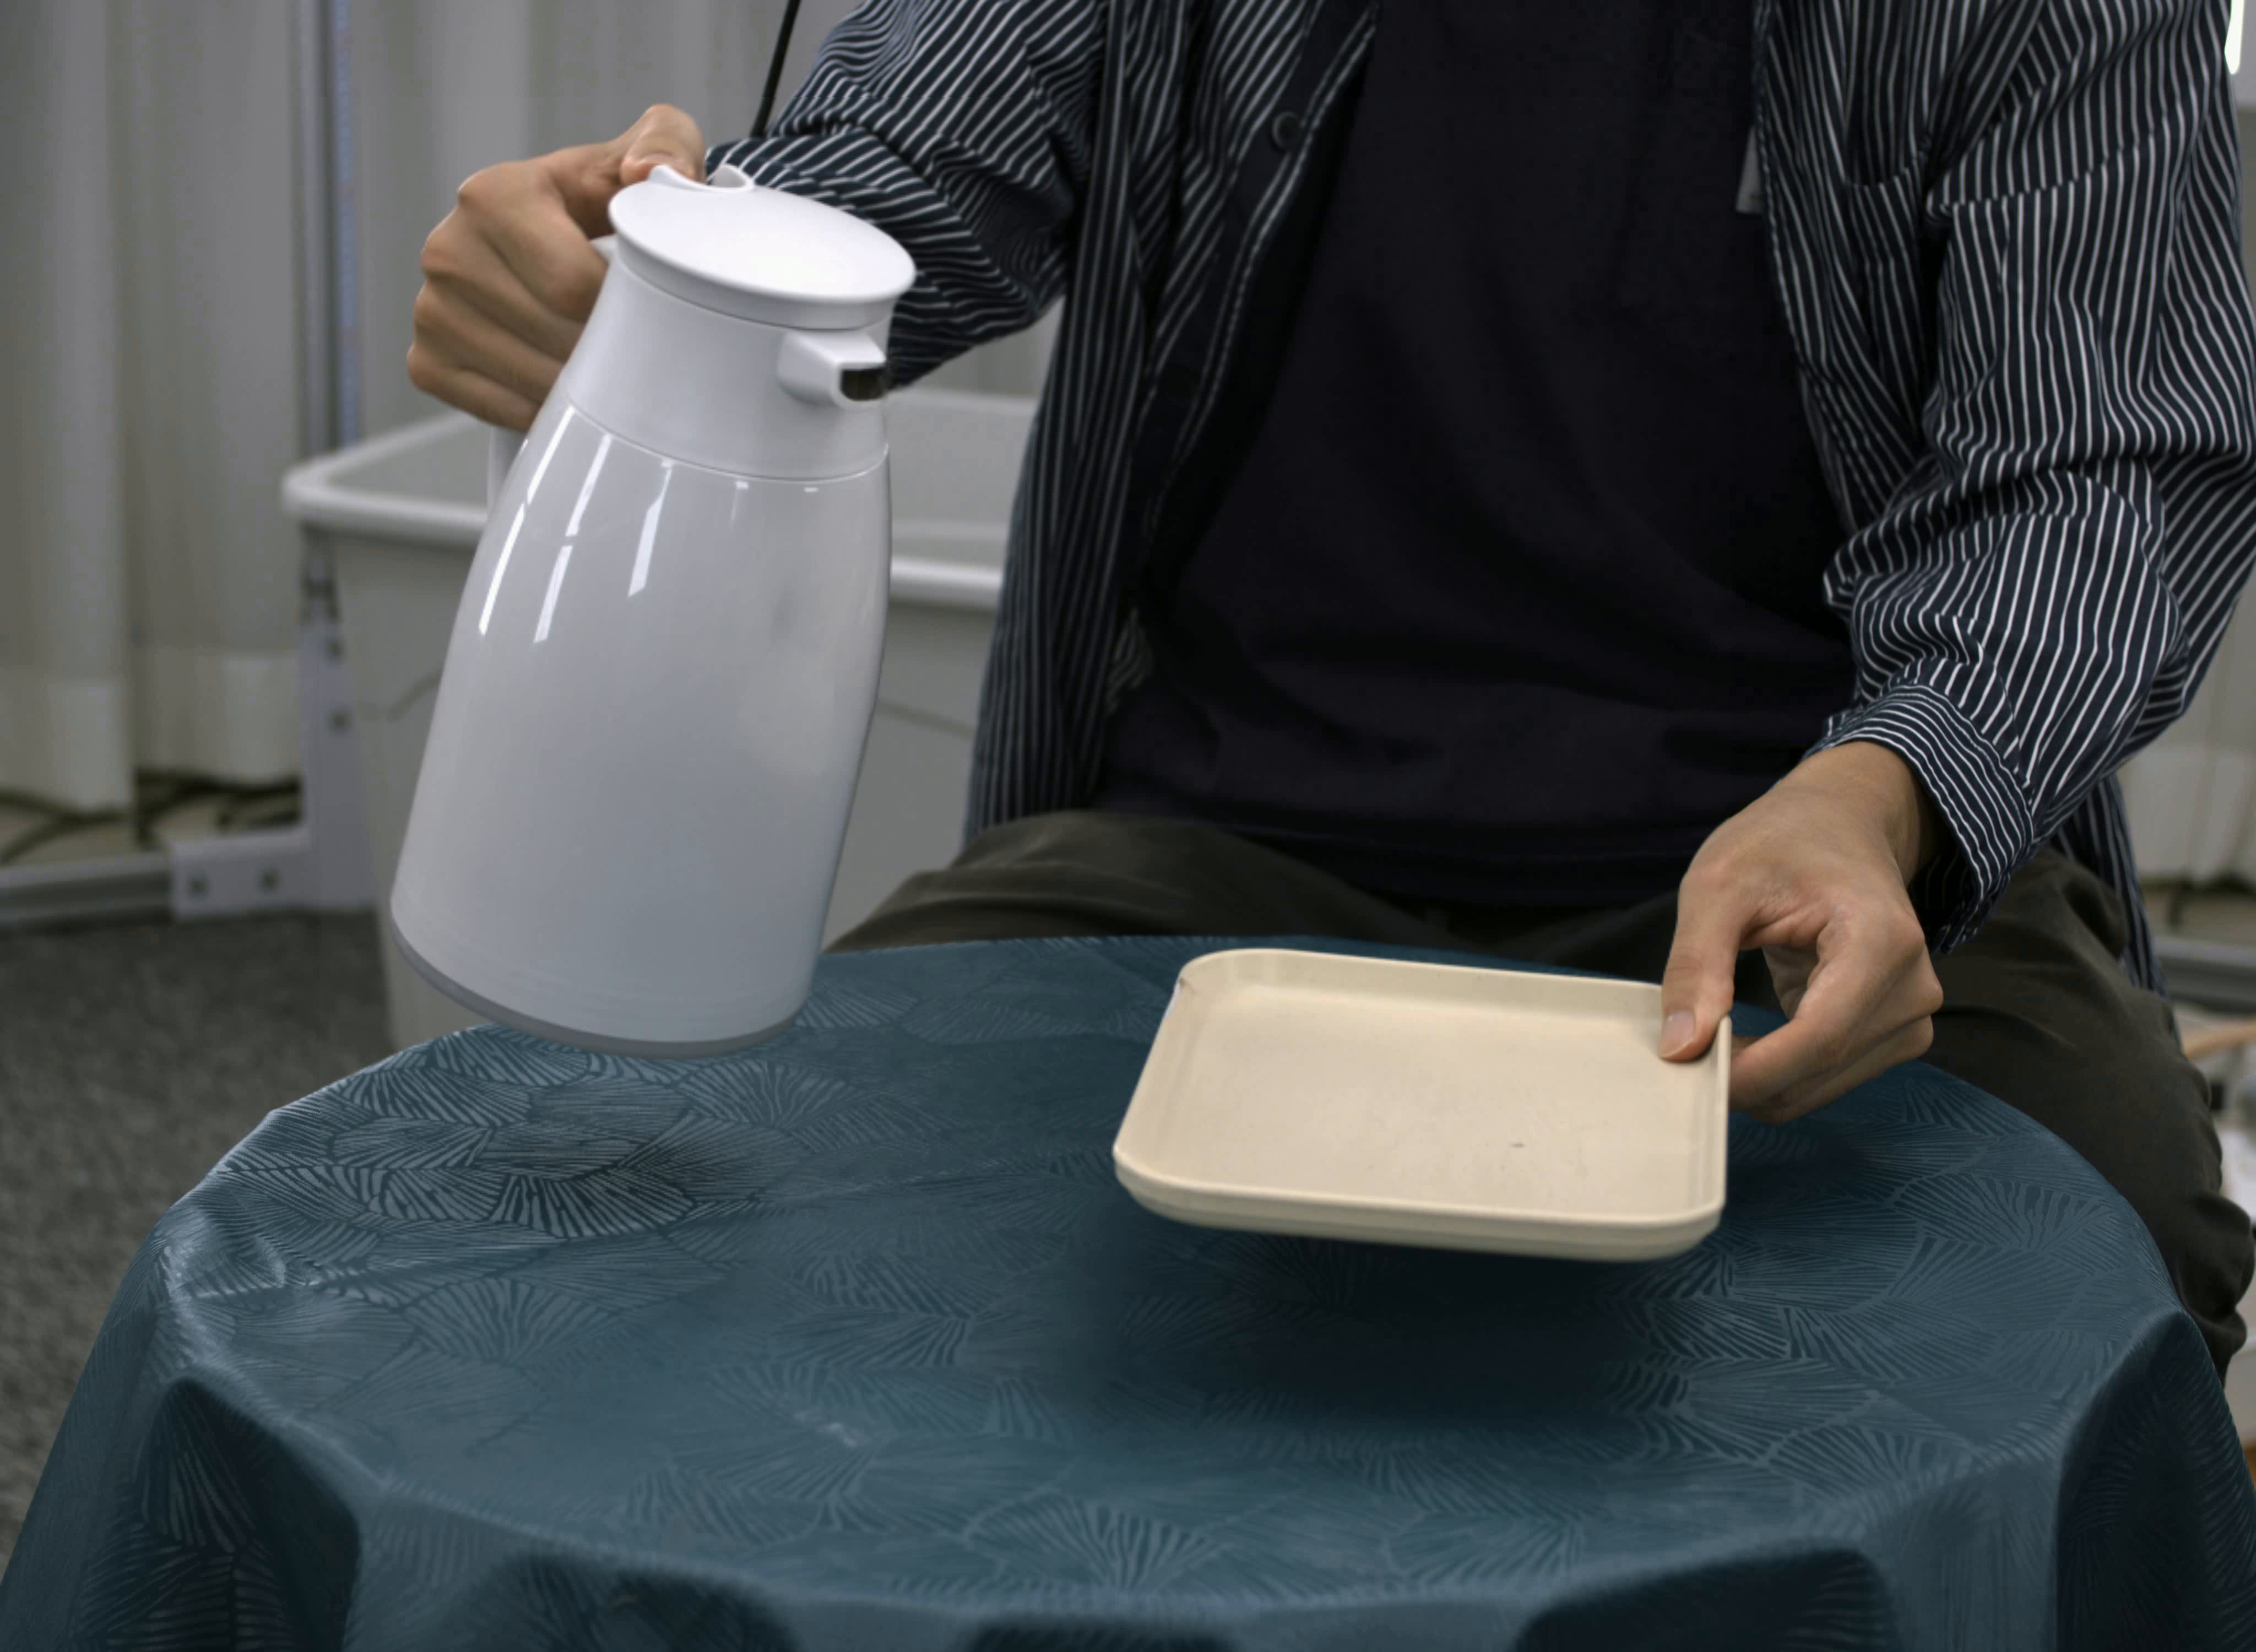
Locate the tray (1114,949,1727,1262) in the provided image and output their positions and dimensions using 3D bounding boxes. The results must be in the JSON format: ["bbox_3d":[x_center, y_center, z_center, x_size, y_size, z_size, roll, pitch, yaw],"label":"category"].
[{"bbox_3d":[0.089,0.080,1.534,0.170,0.017,0.239,6,14,5],"label":"tray"}]

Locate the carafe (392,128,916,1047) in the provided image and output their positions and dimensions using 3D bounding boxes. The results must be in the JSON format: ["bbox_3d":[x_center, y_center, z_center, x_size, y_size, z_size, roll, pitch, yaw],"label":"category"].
[{"bbox_3d":[-0.146,-0.081,1.587,0.133,0.250,0.165,-9,32,-42],"label":"carafe"}]
